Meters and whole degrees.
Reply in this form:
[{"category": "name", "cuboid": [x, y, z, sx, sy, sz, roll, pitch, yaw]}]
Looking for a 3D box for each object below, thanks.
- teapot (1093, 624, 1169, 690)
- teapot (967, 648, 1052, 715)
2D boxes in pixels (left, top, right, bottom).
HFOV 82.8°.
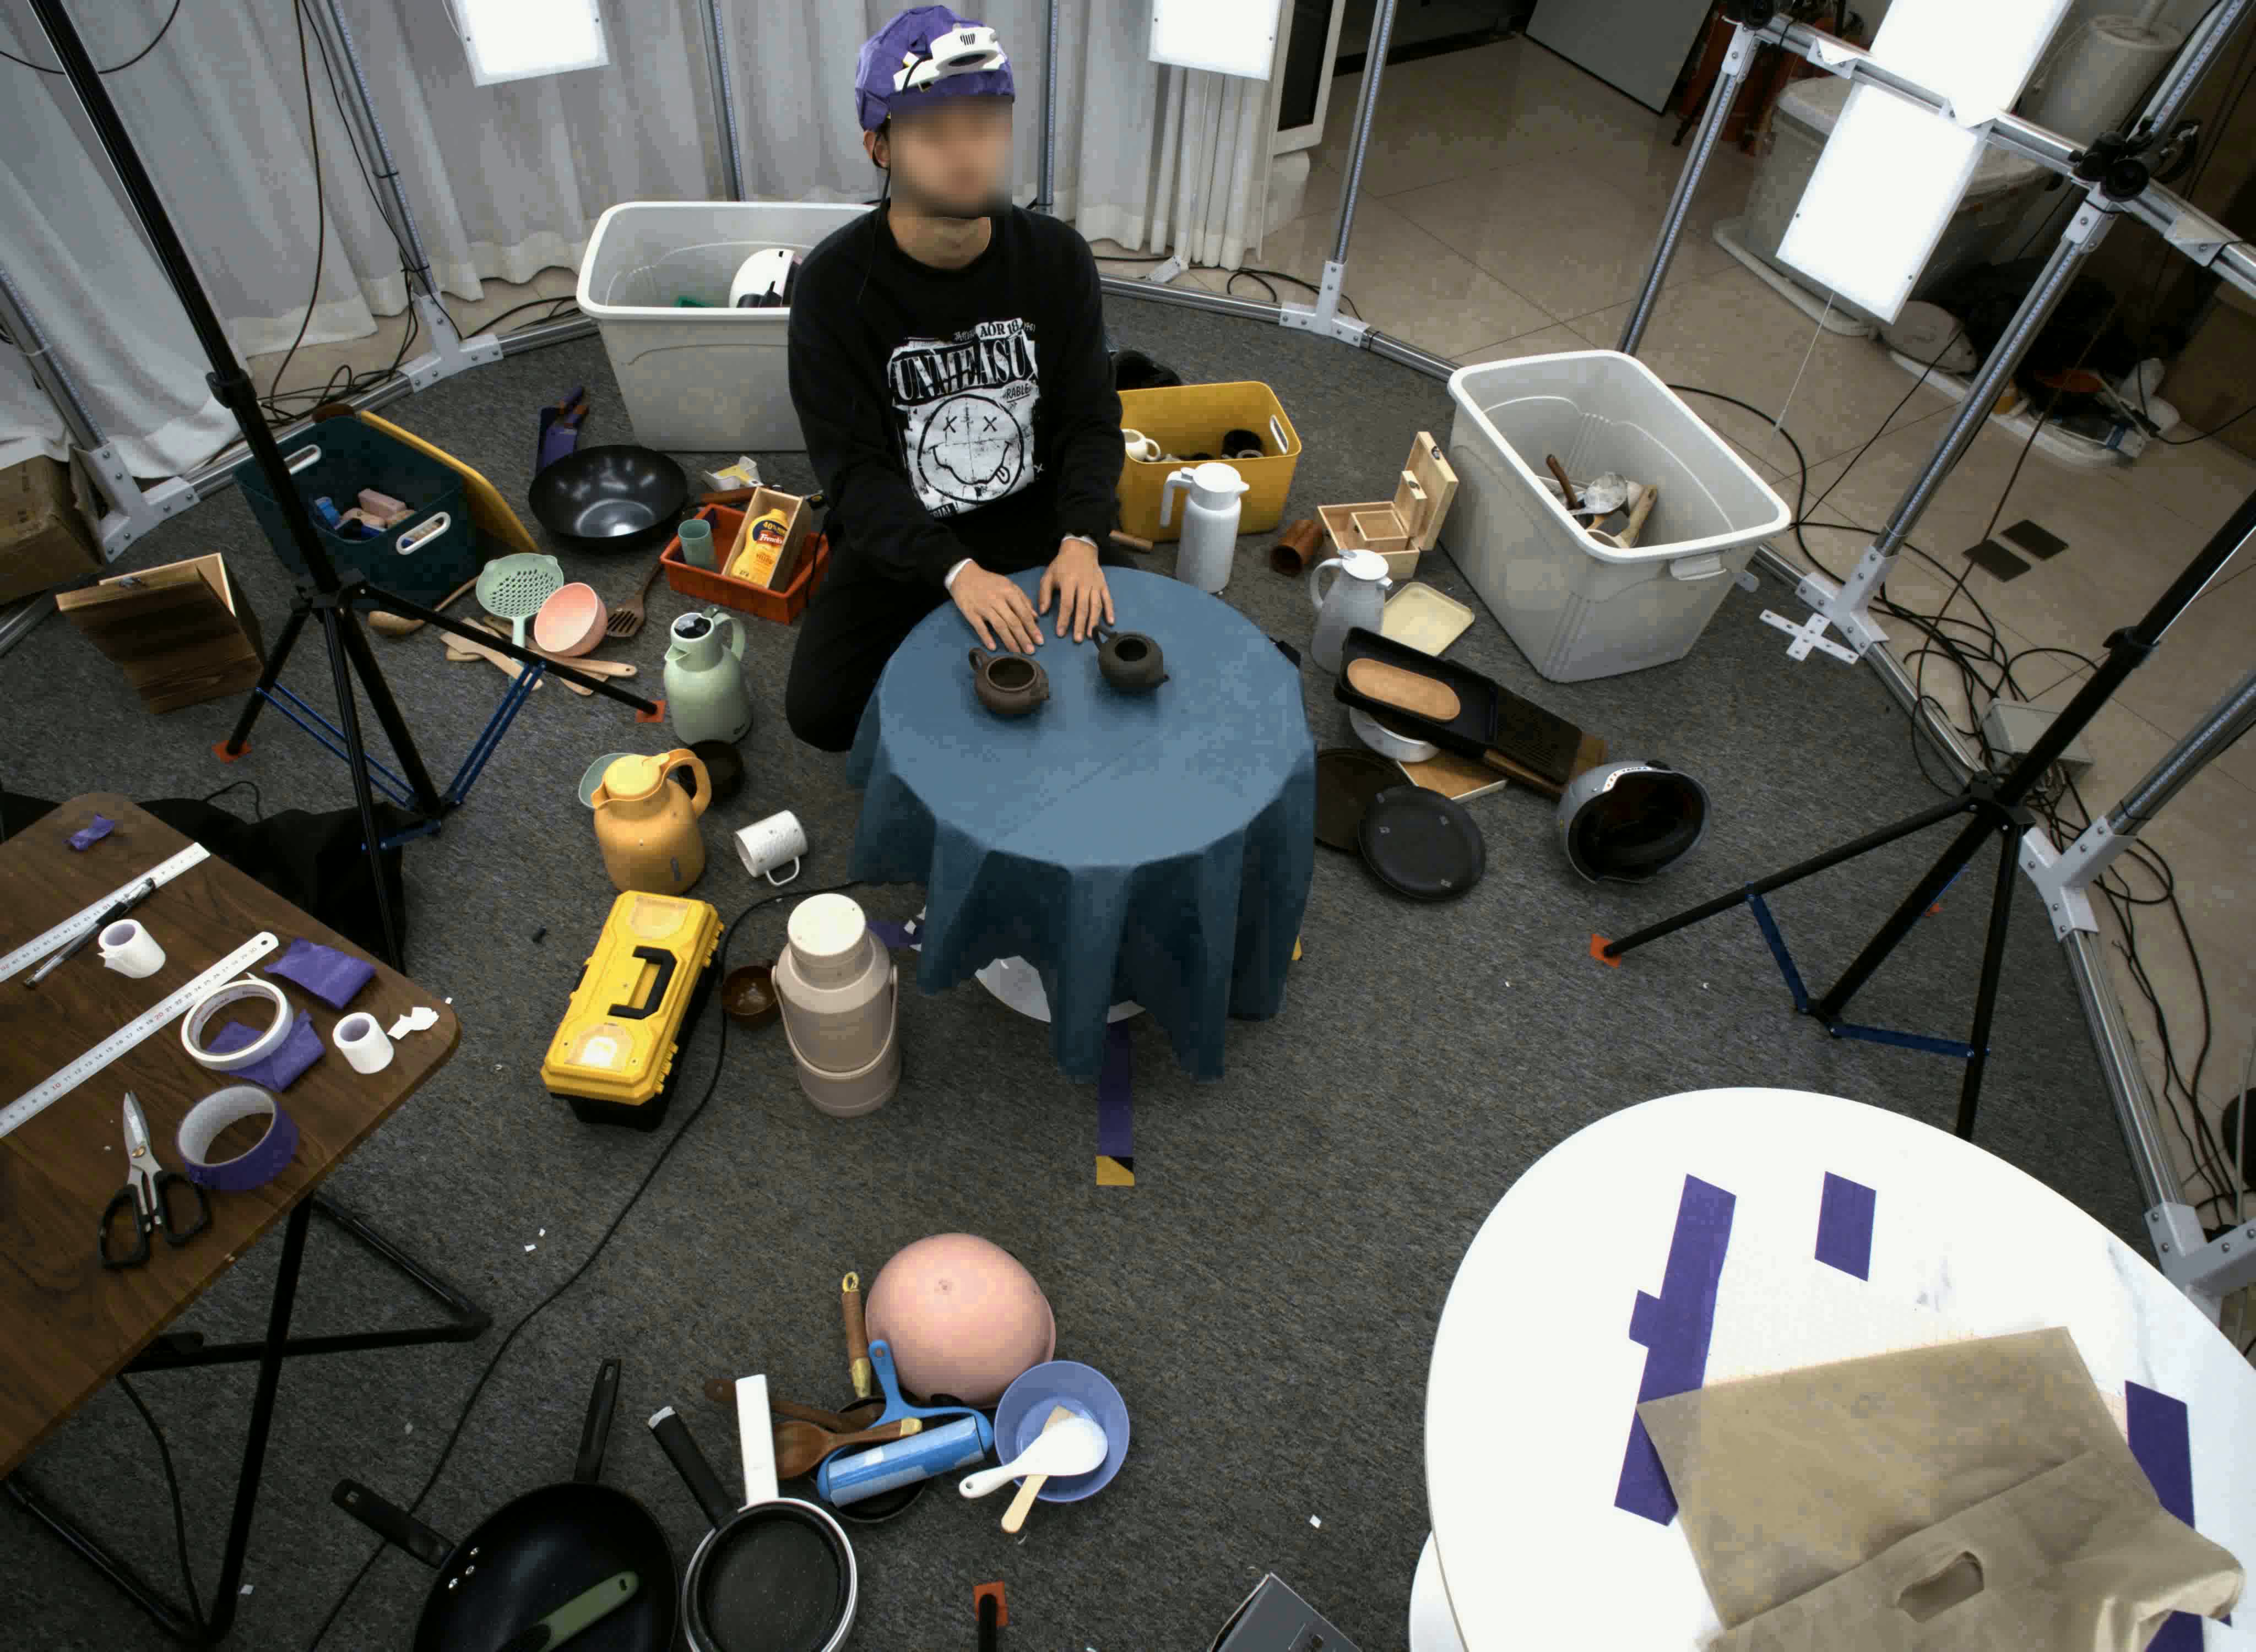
[{"category": "teapot", "cuboid": [0.002, -0.237, 1.834, 0.093, 0.063, 0.157, -32, 58, -29]}, {"category": "teapot", "cuboid": [-0.166, -0.202, 1.799, 0.155, 0.052, 0.104, 31, 52, 21]}]
